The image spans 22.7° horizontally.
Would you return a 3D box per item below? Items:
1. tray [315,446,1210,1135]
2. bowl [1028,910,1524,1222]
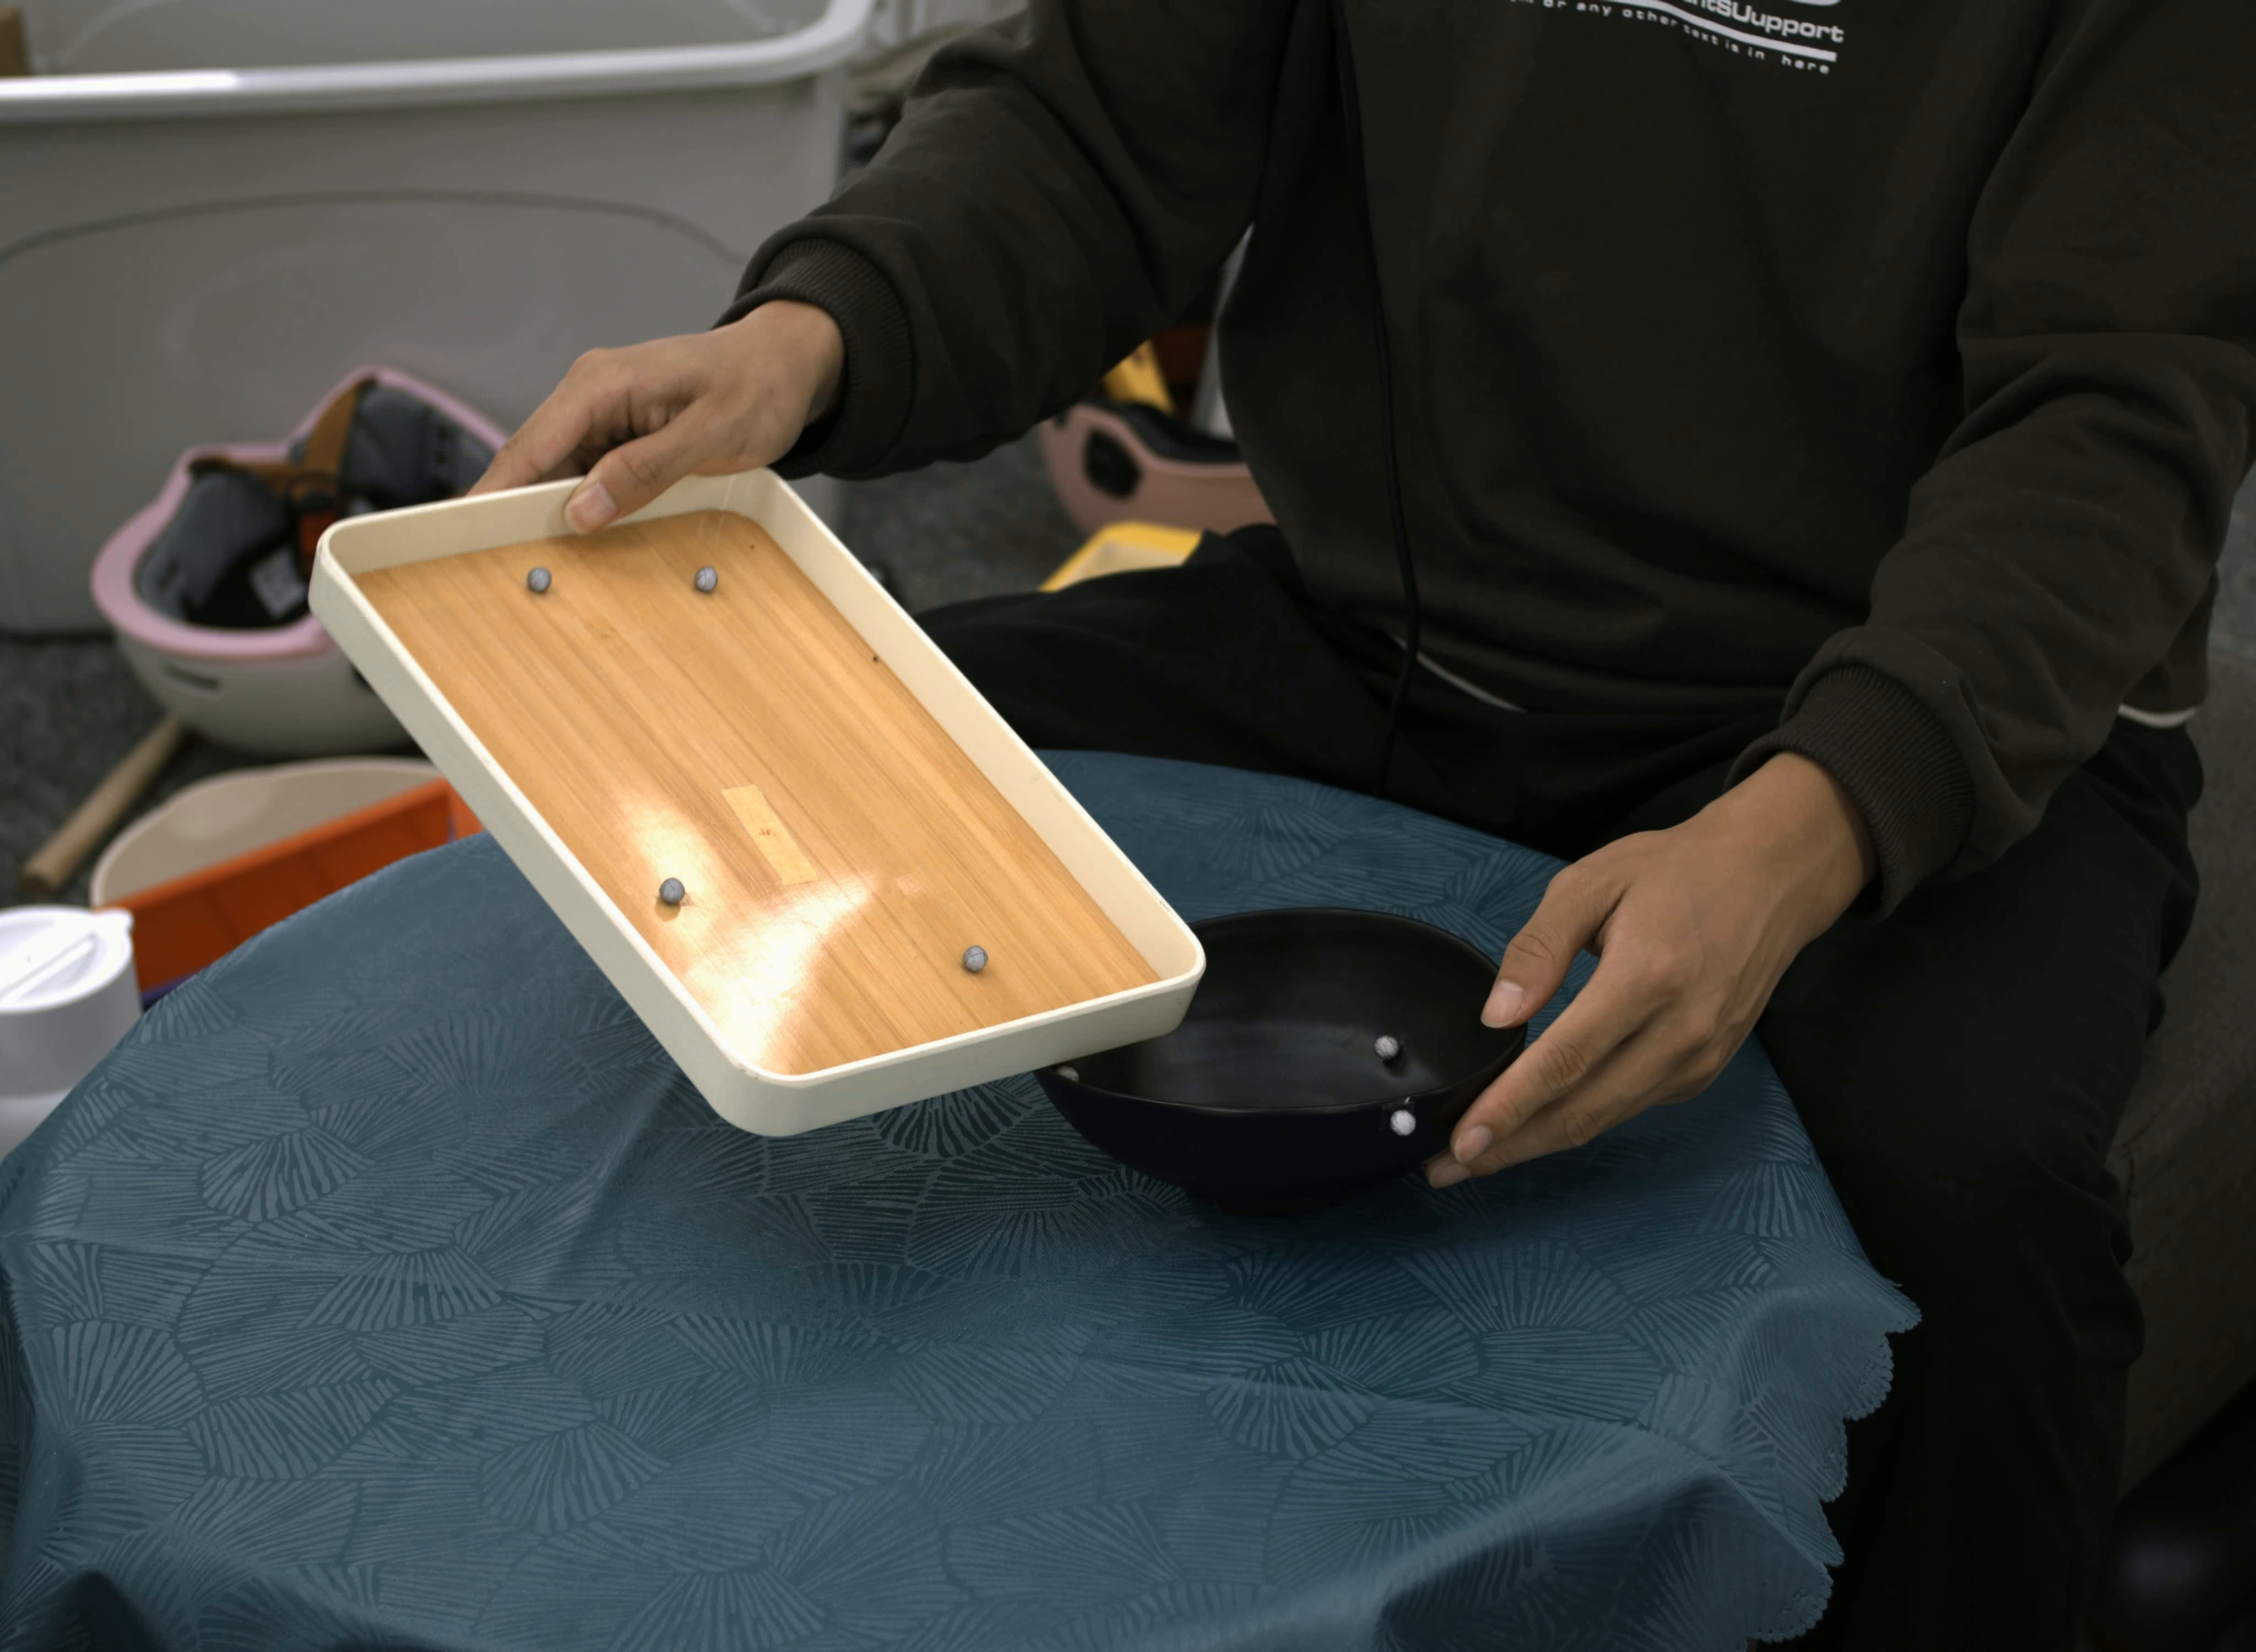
[{"bbox_3d":[-0.125,-0.019,1.894,0.193,0.027,0.303,-12,47,-37],"label":"tray"},{"bbox_3d":[0.049,0.088,1.859,0.169,0.066,0.139,1,26,16],"label":"bowl"}]
